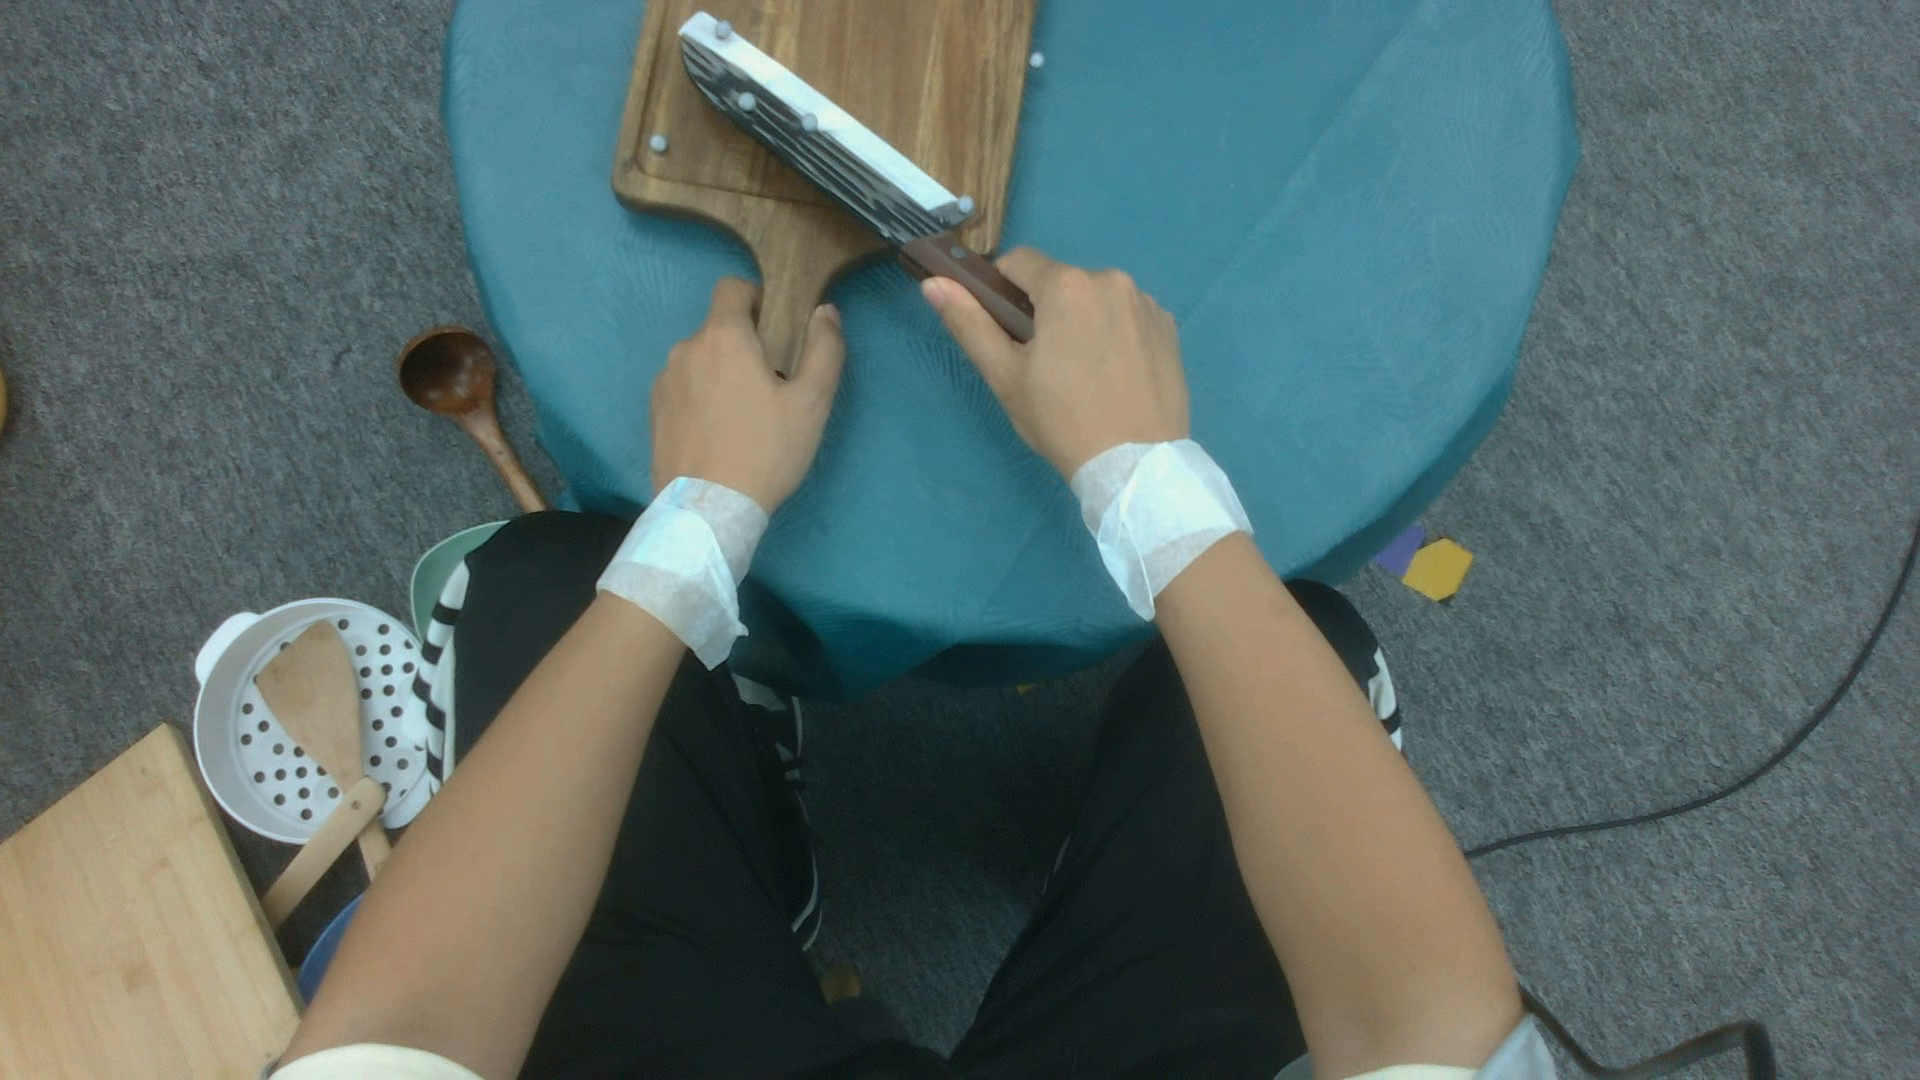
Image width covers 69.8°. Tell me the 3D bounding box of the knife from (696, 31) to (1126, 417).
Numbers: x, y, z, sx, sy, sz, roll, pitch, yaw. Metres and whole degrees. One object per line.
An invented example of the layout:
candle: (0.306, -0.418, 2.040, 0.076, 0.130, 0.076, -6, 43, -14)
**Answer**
knife: (-0.027, -0.165, 0.685, 0.299, 0.024, 0.068, 39, 44, 10)

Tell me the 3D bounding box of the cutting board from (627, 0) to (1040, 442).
cutting board: (-0.066, -0.223, 0.726, 0.201, 0.023, 0.353, 8, 78, -1)
